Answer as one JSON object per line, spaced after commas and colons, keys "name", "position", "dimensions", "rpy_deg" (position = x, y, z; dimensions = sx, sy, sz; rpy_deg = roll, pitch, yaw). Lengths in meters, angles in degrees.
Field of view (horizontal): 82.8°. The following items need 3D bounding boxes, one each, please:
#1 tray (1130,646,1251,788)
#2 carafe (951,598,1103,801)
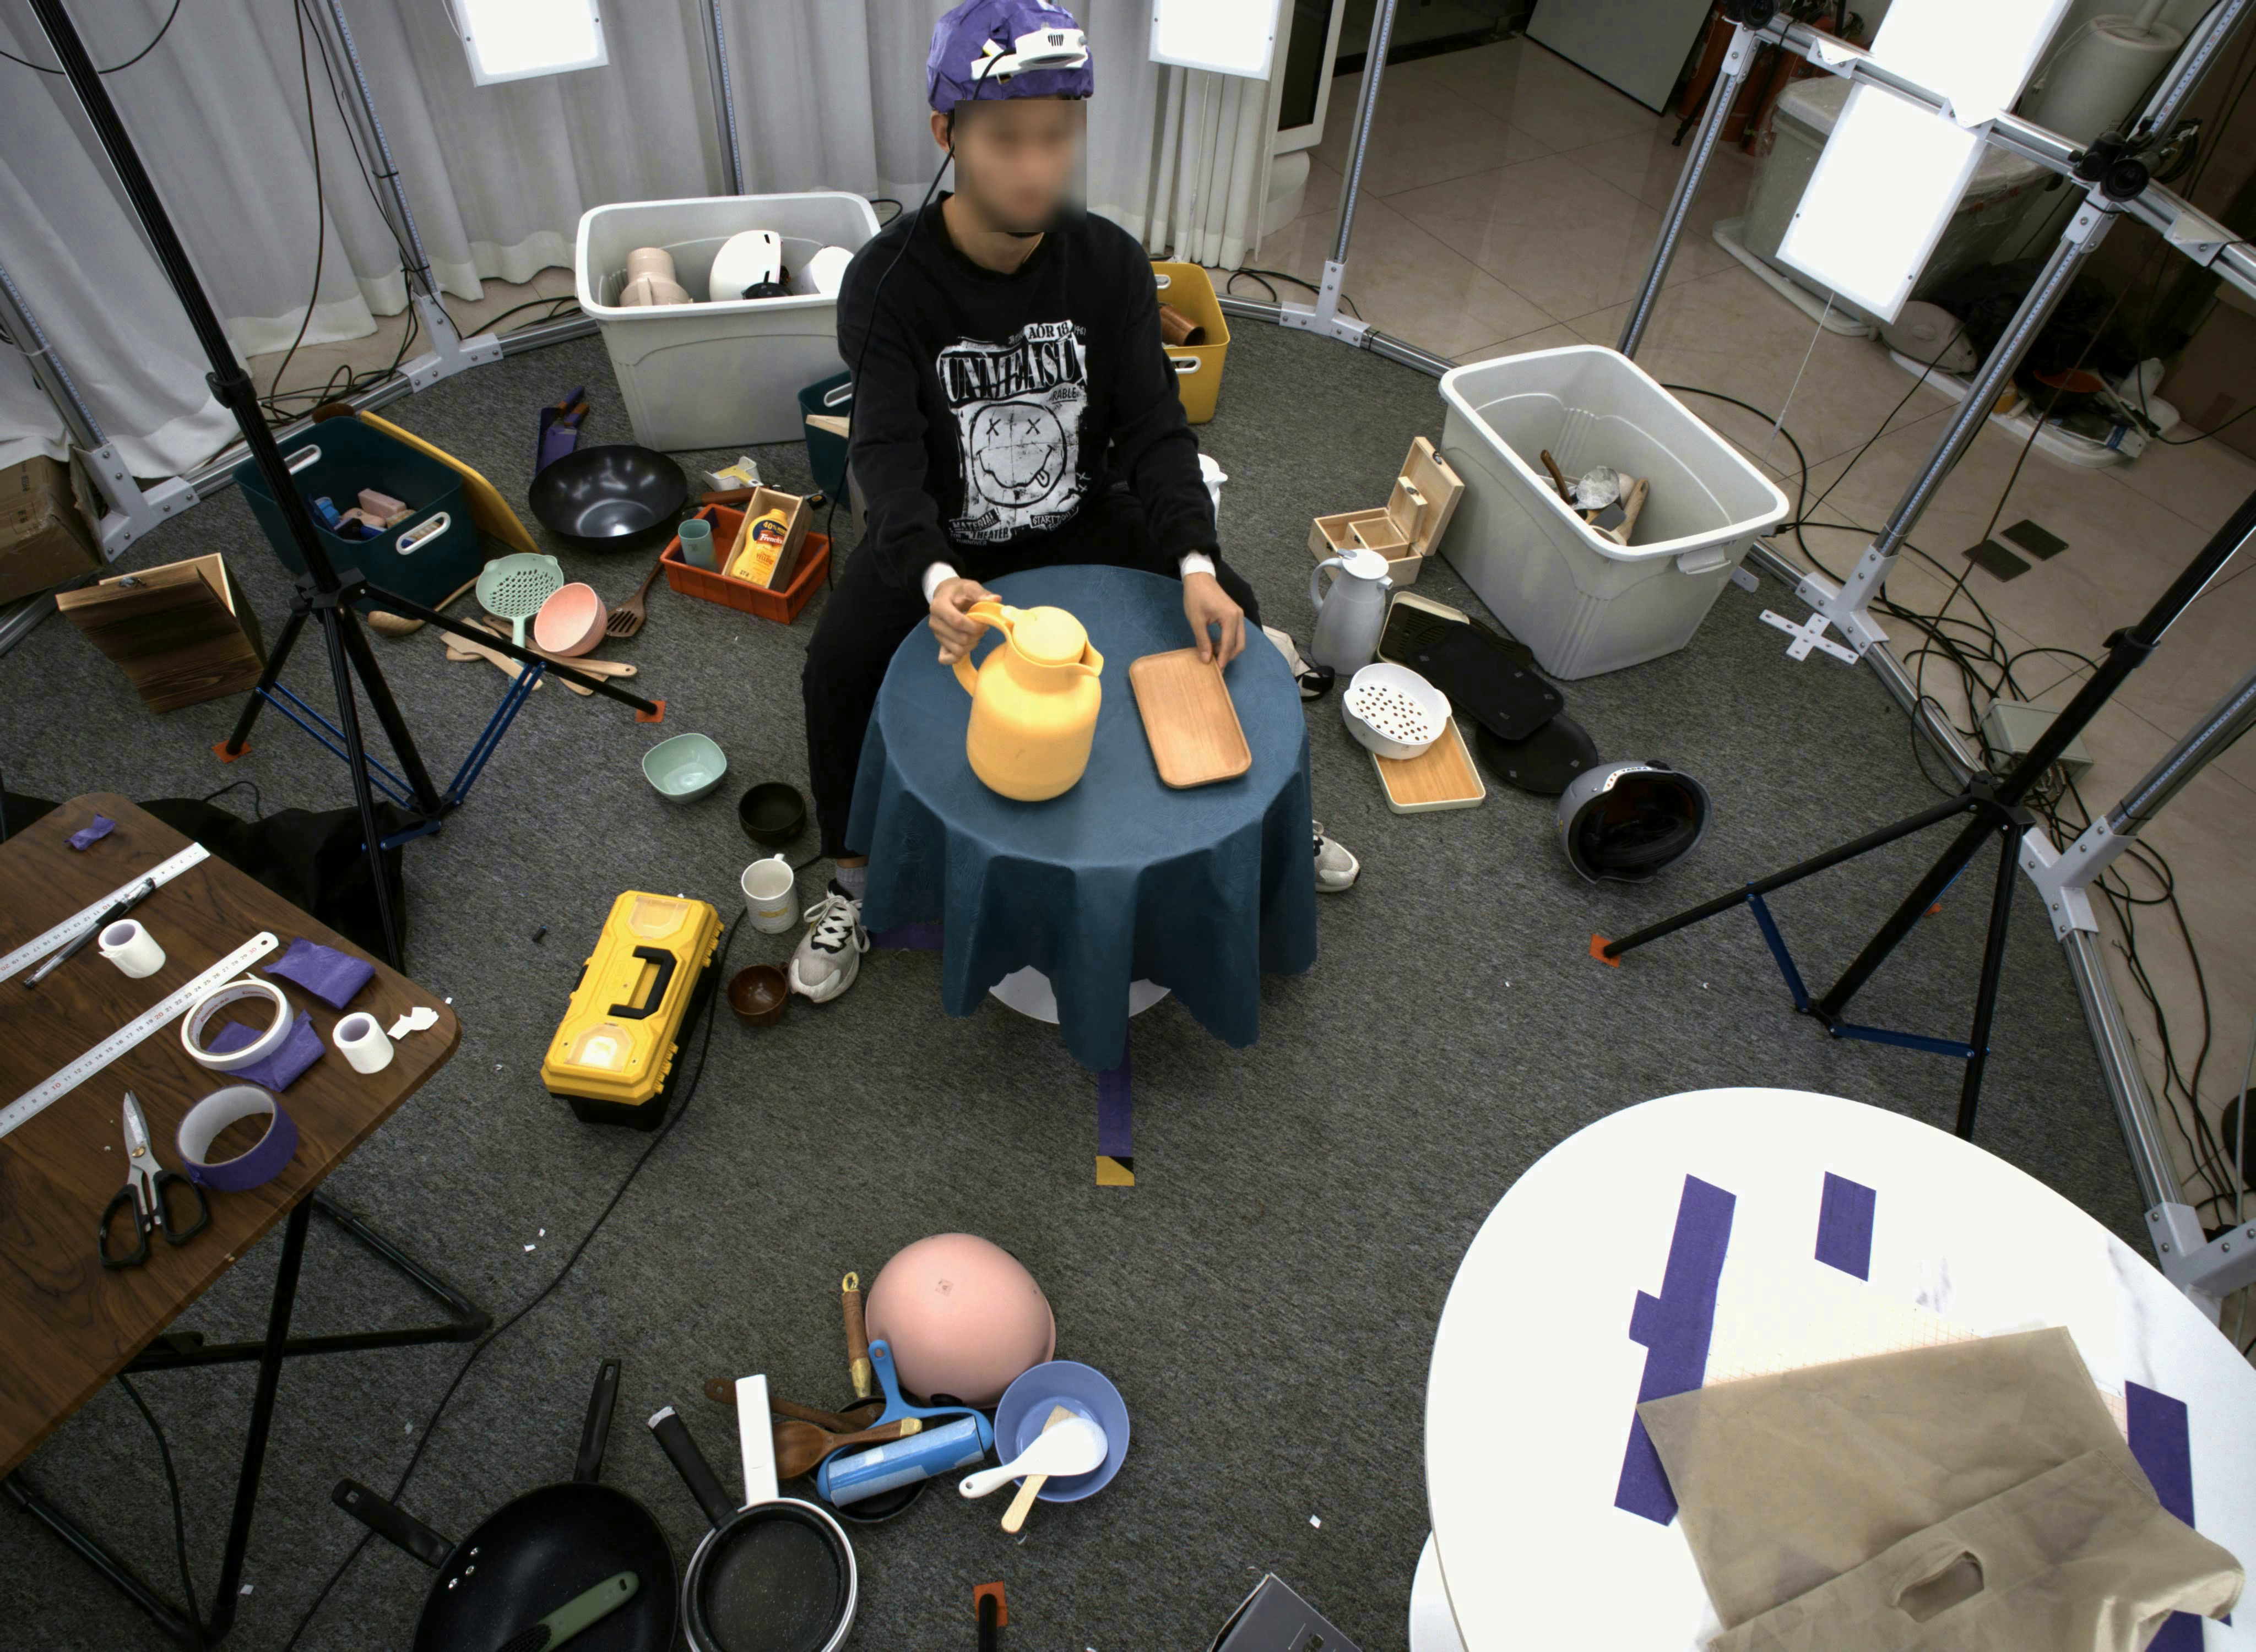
{"name": "tray", "position": [0.085, -0.155, 1.788], "dimensions": [0.130, 0.022, 0.257], "rpy_deg": [-10, 50, -5]}
{"name": "carafe", "position": [-0.134, -0.171, 1.625], "dimensions": [0.203, 0.255, 0.166], "rpy_deg": [32, 50, 10]}
